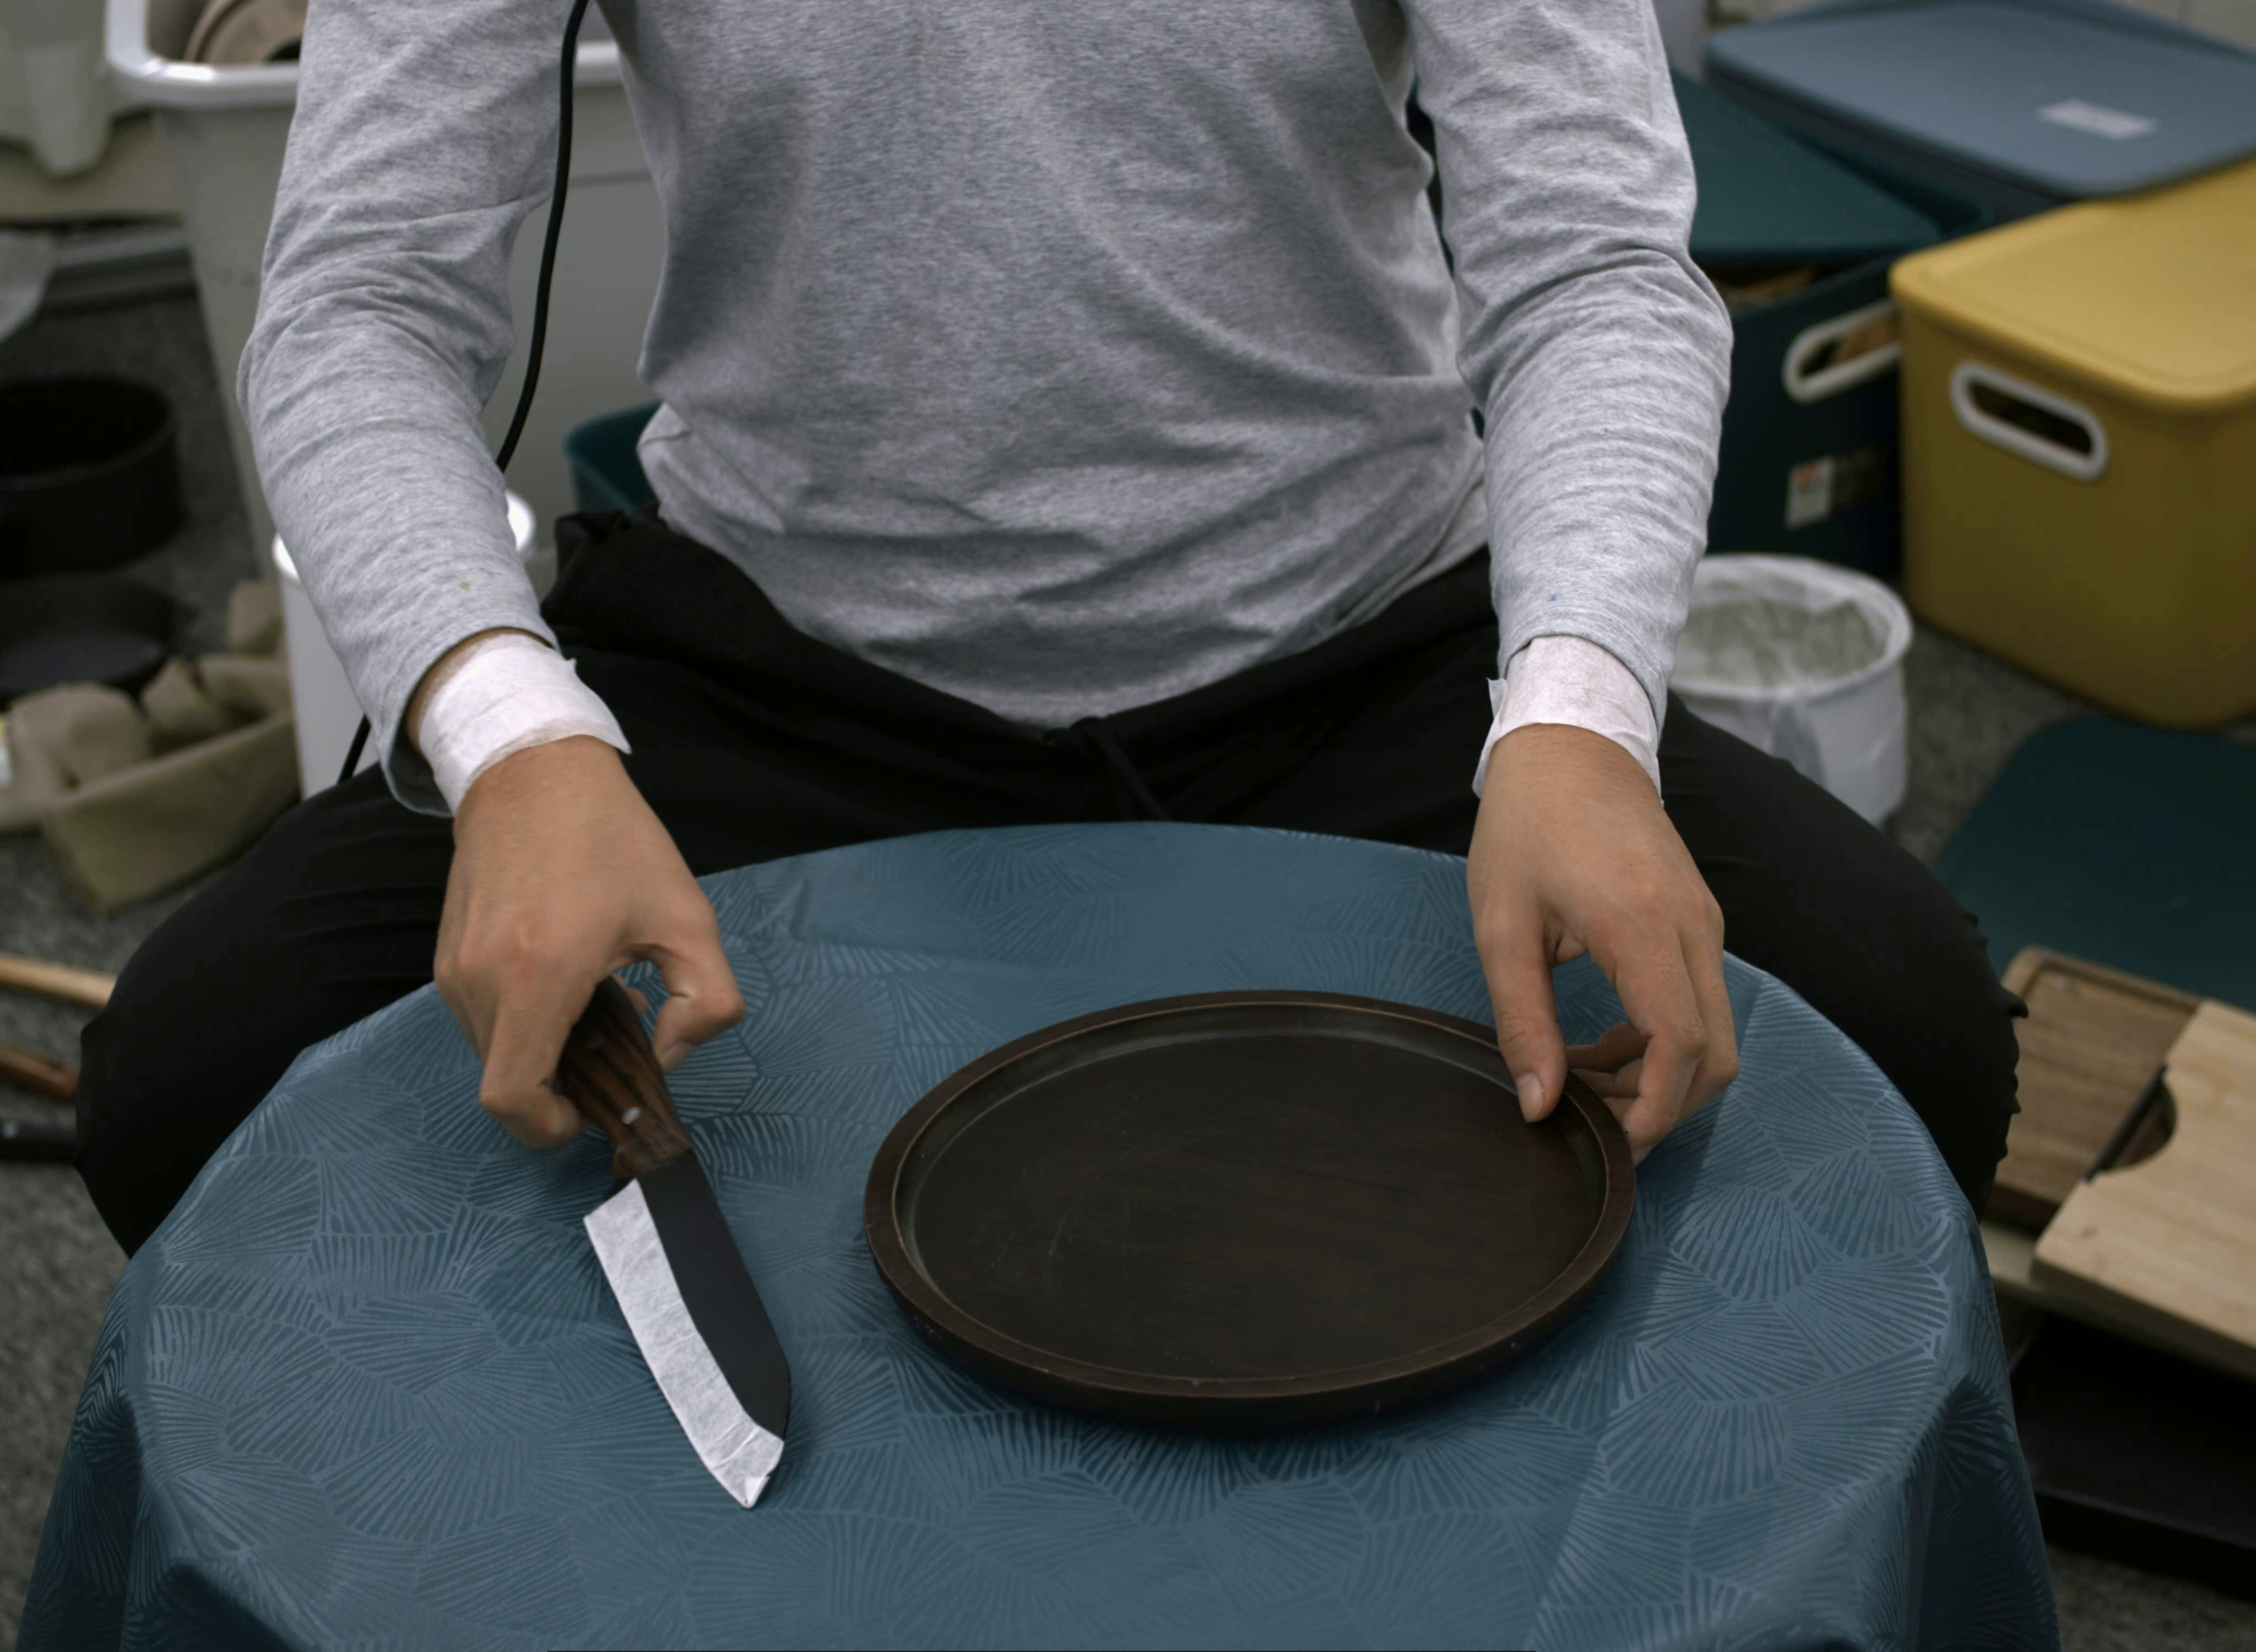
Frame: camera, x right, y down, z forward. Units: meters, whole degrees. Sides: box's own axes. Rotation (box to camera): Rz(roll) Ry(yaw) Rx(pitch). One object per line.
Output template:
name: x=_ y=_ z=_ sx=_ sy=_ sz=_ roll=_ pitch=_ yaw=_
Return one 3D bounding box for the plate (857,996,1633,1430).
plate: x=0.038 y=0.123 z=1.828 sx=0.253 sy=0.029 sz=0.258 roll=-4 pitch=26 yaw=2

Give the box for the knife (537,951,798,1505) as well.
knife: x=-0.151 y=0.127 z=1.820 sx=0.050 sy=0.020 sz=0.293 roll=-36 pitch=36 yaw=6
